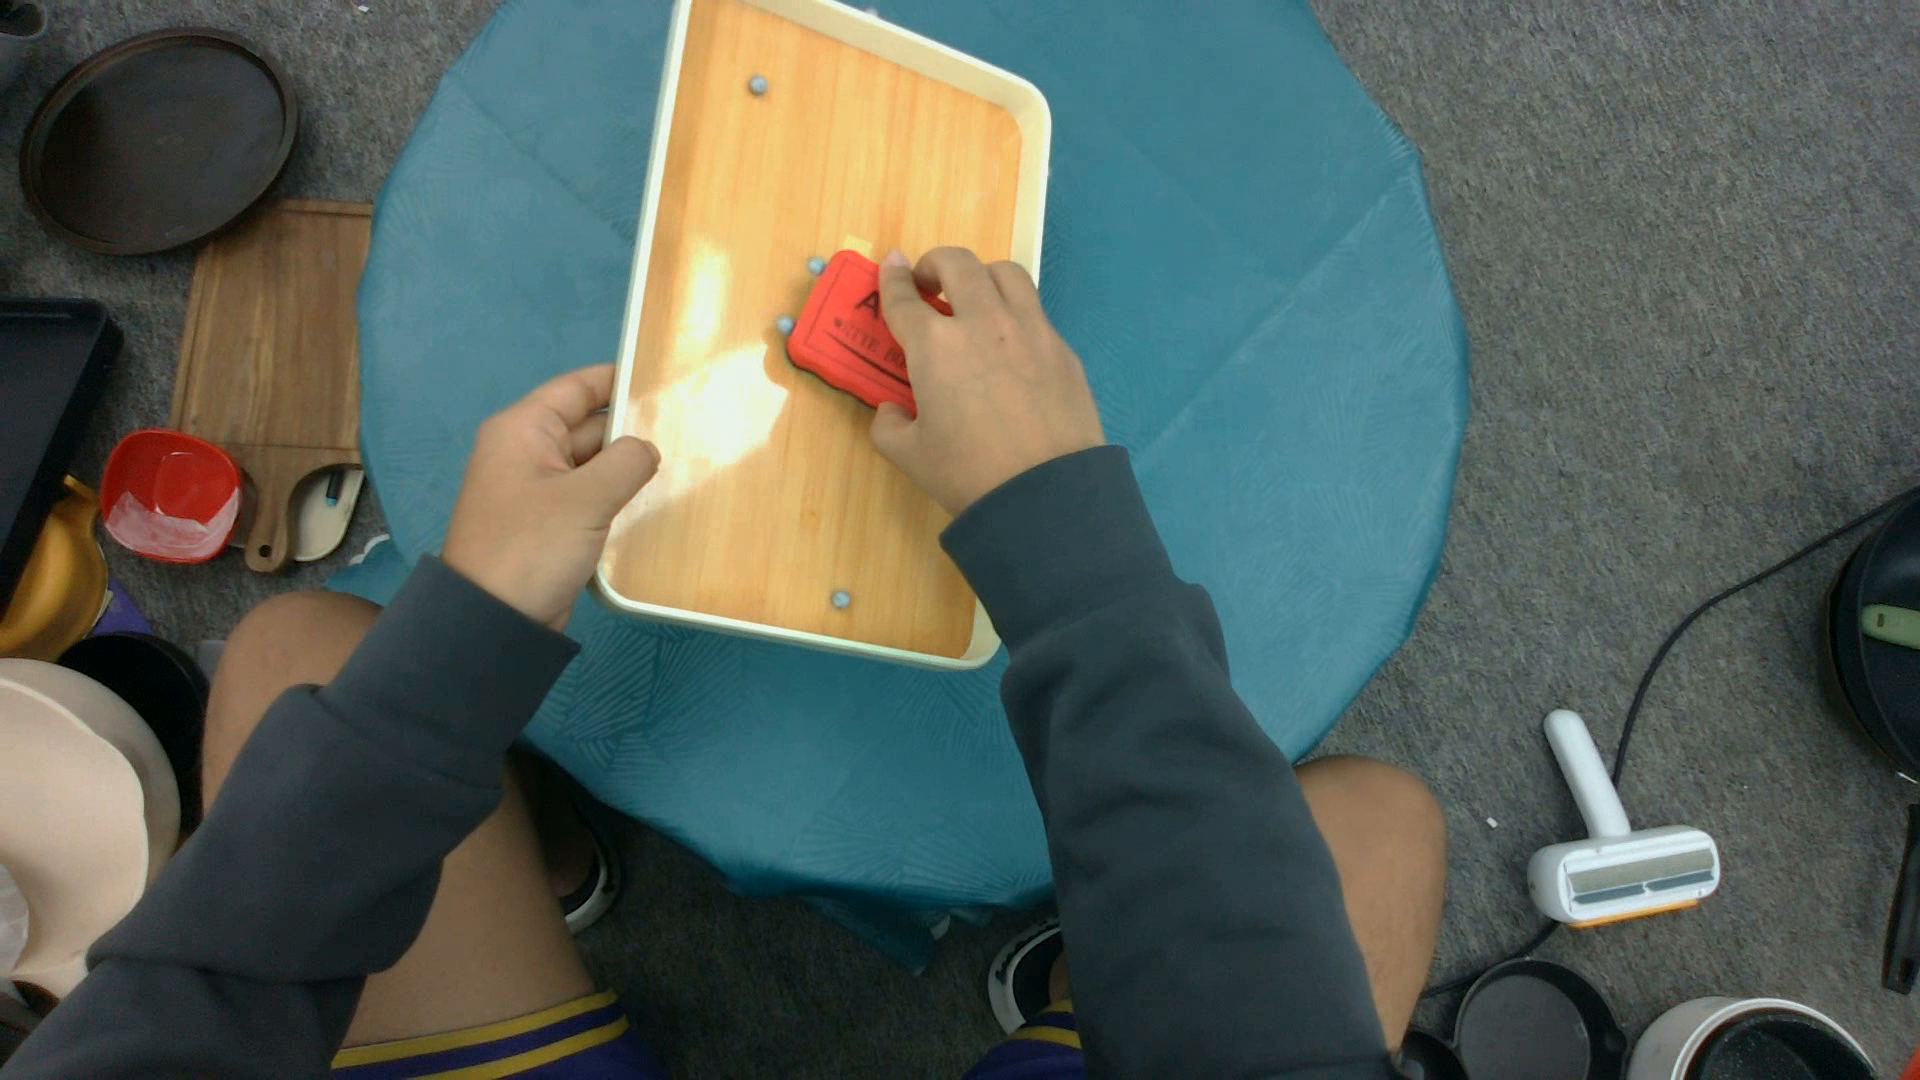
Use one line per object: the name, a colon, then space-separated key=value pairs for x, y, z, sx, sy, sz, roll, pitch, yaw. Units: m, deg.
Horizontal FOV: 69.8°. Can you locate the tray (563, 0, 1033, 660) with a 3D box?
tray: x=-0.064 y=-0.105 z=0.631 sx=0.192 sy=0.027 sz=0.301 roll=13 pitch=74 yaw=-27

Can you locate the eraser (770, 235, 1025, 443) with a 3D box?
eraser: x=-0.028 y=-0.090 z=0.627 sx=0.108 sy=0.023 sz=0.059 roll=26 pitch=85 yaw=-14
